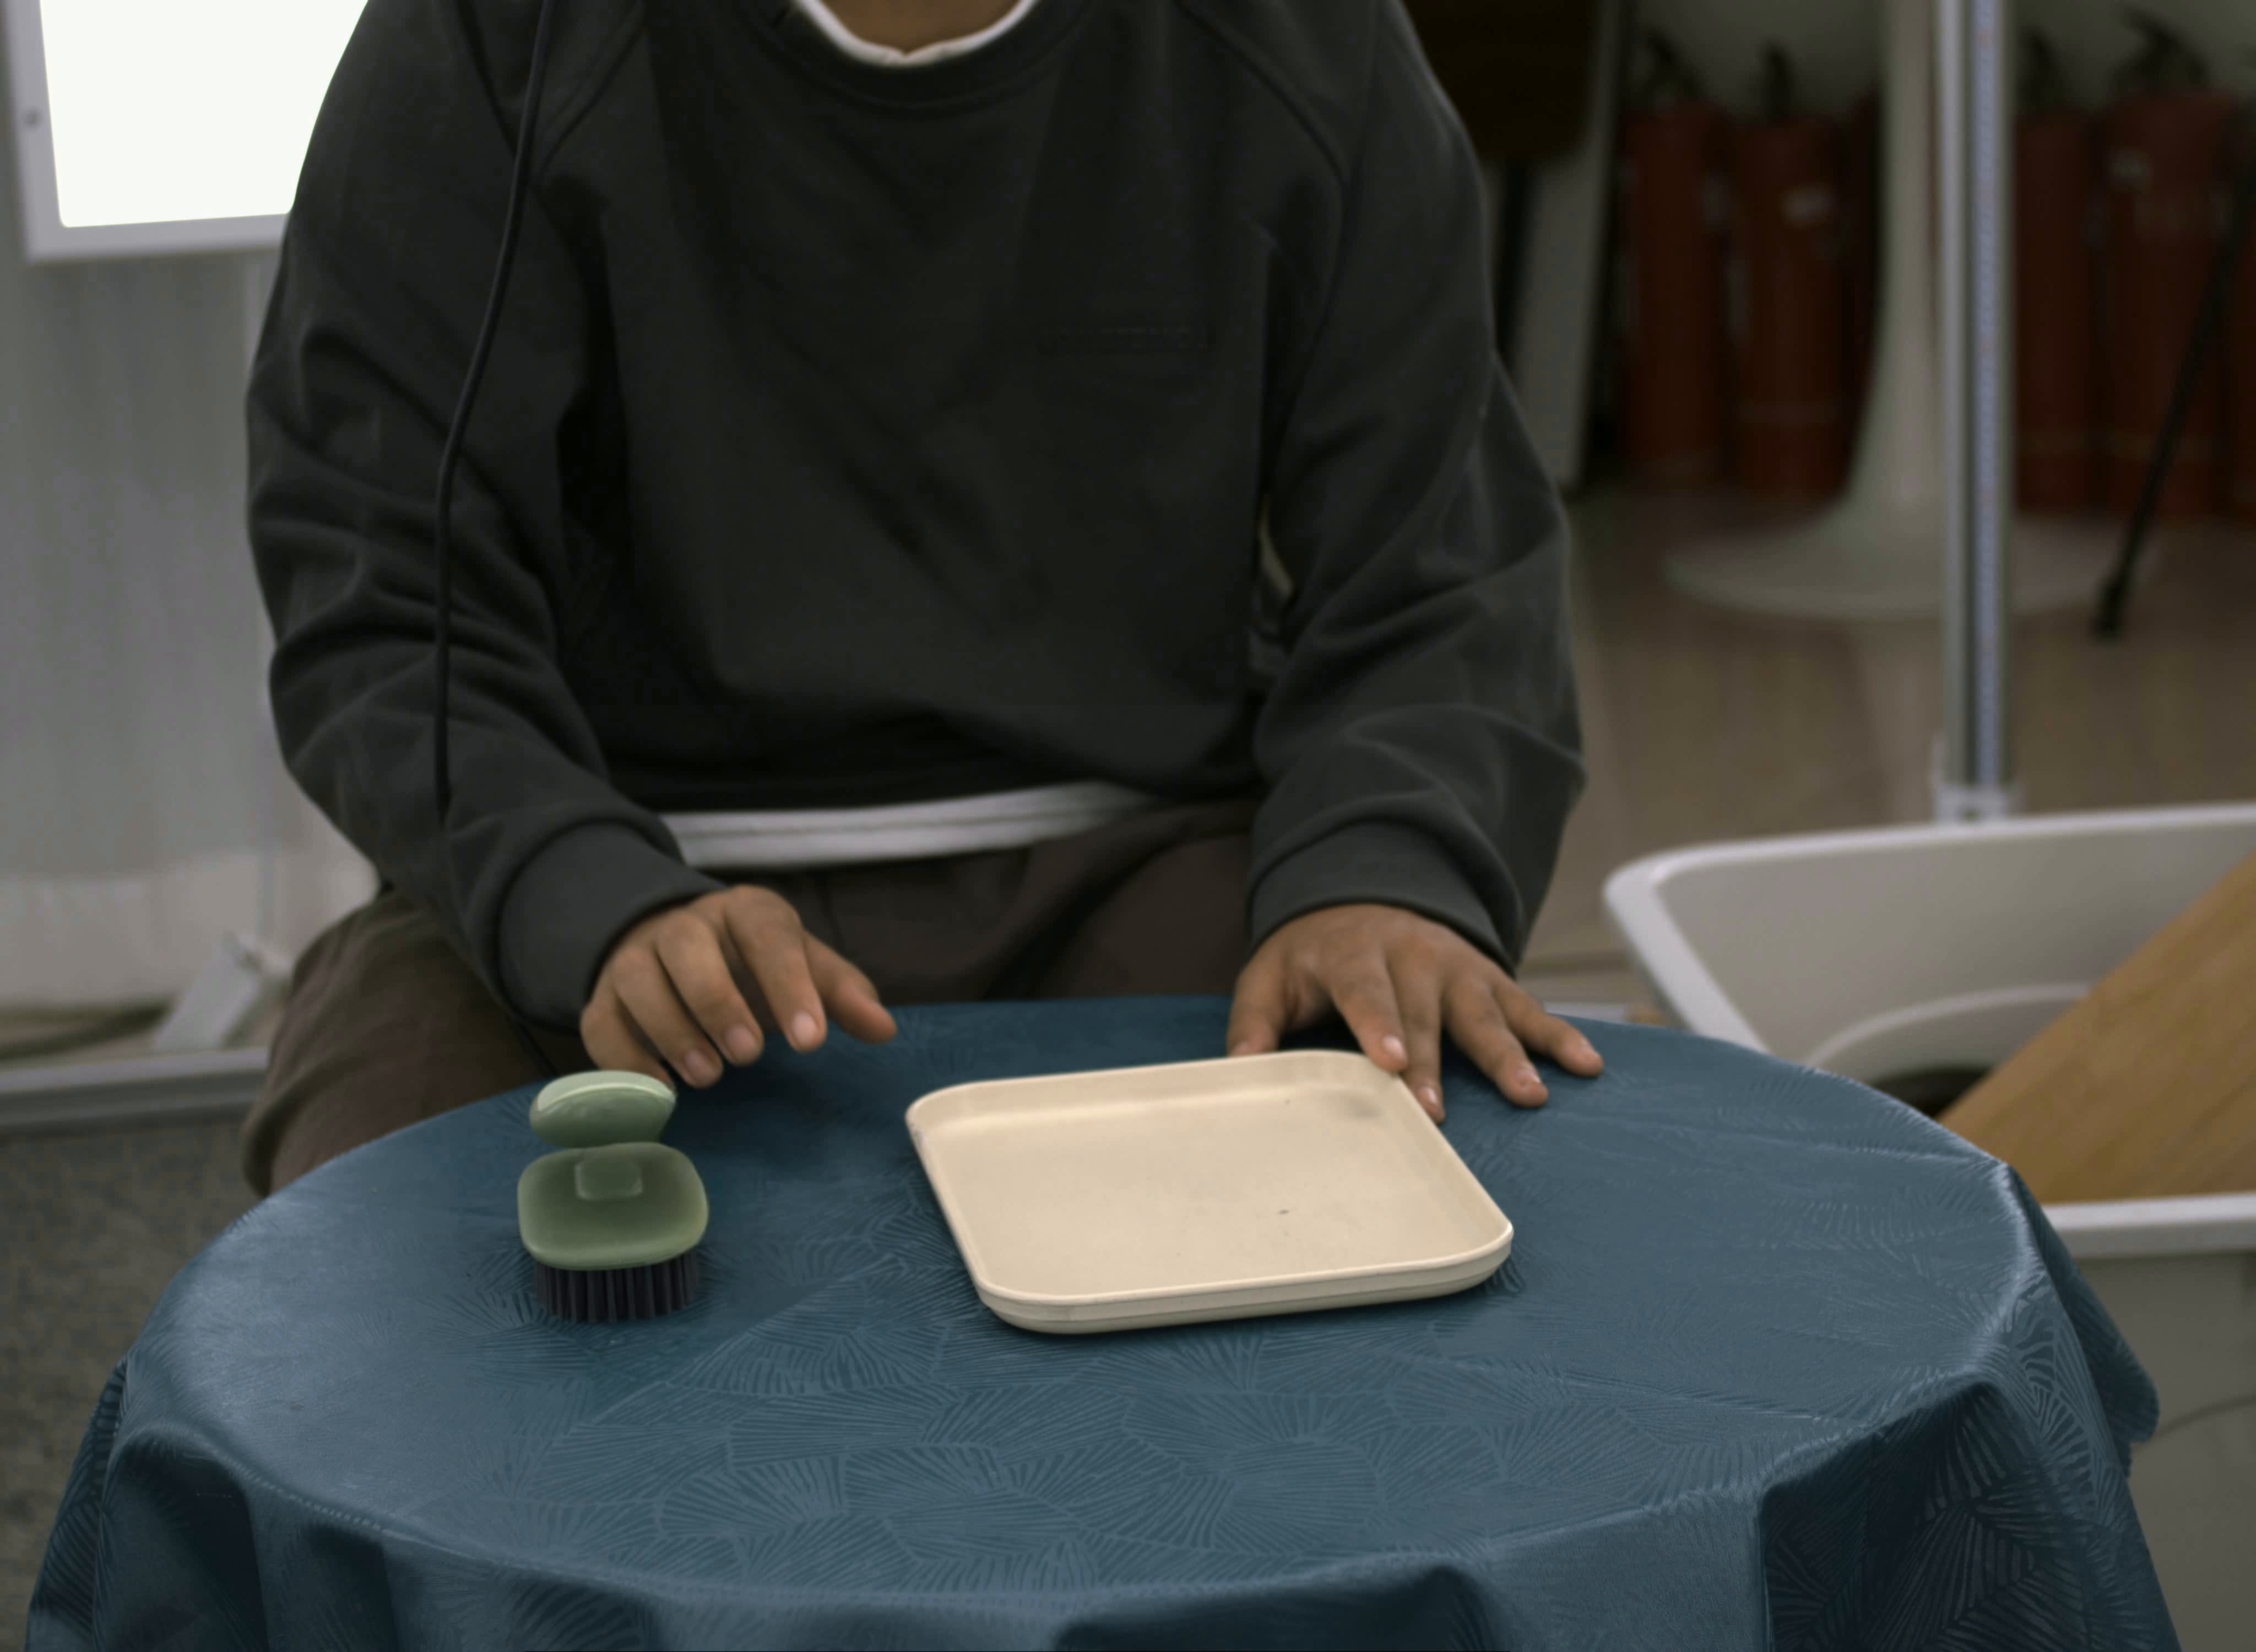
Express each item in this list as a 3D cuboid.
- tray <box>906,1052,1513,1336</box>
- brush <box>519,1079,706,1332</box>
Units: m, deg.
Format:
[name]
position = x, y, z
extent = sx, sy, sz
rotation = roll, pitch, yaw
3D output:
[tray]
position = 0.023, 0.118, 1.743
extent = 0.168, 0.017, 0.241
rotation = -5, 14, -7
[brush]
position = -0.164, 0.118, 1.722
extent = 0.058, 0.077, 0.123
rotation = -4, 0, -7
